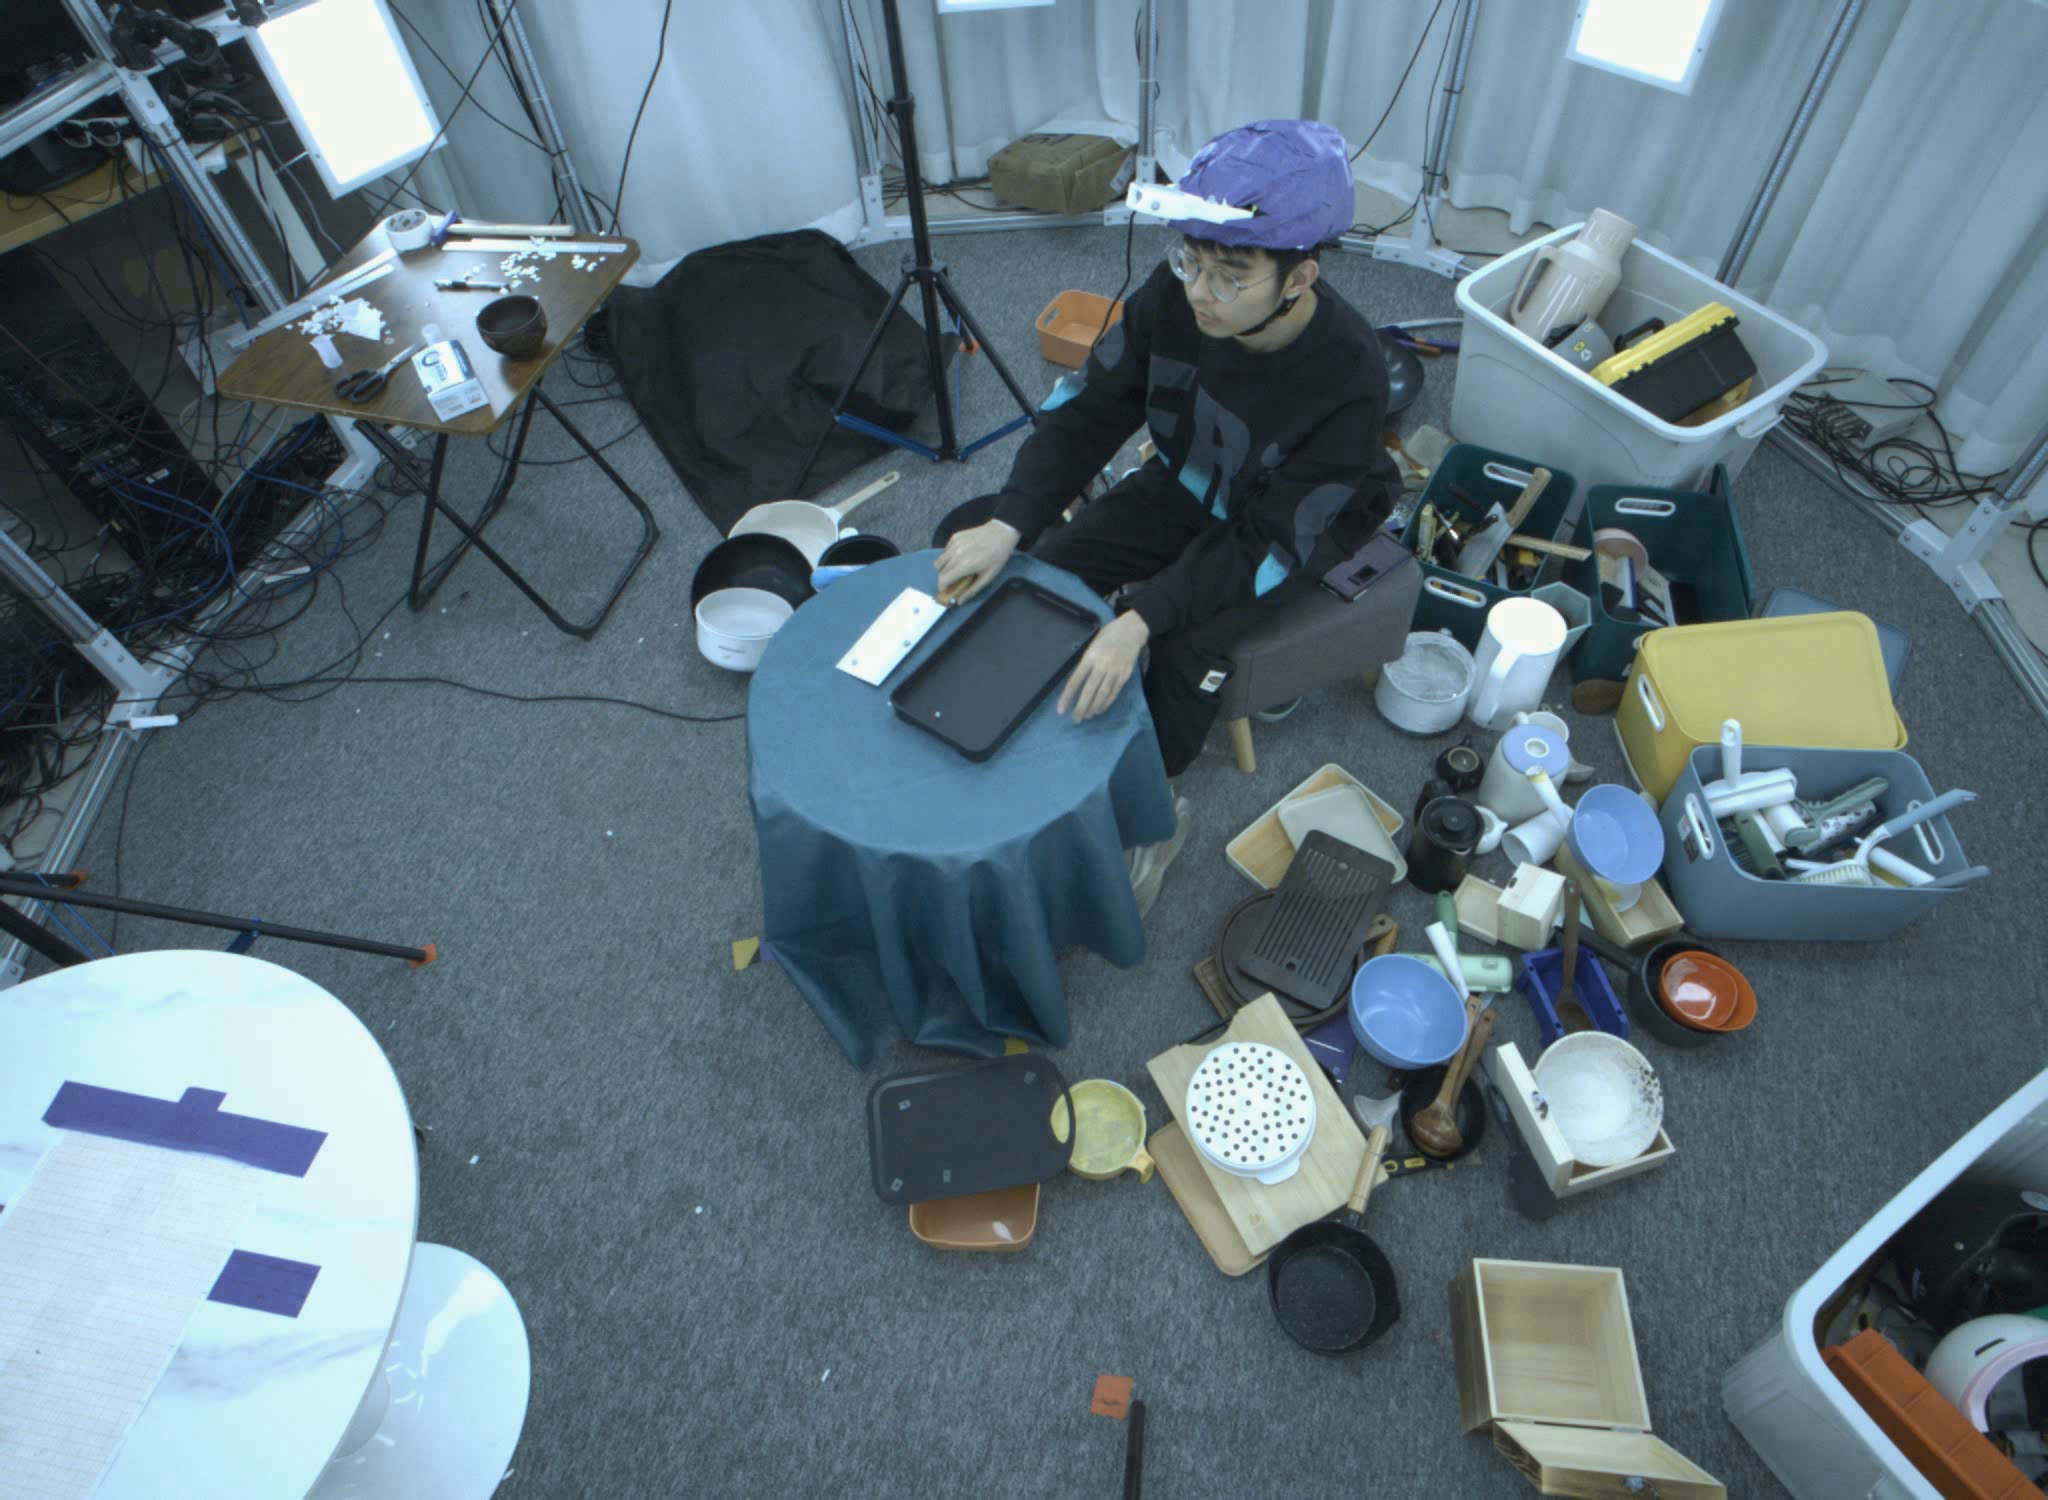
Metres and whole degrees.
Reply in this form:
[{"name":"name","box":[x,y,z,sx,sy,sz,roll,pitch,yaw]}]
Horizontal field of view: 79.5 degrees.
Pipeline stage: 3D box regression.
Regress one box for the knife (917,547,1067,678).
[{"name":"knife","box":[-0.054,-0.227,1.936,0.091,0.021,0.307,29,63,27]}]

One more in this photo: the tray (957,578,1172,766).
[{"name":"tray","box":[0.064,-0.123,1.850,0.181,0.037,0.320,33,62,23]}]
